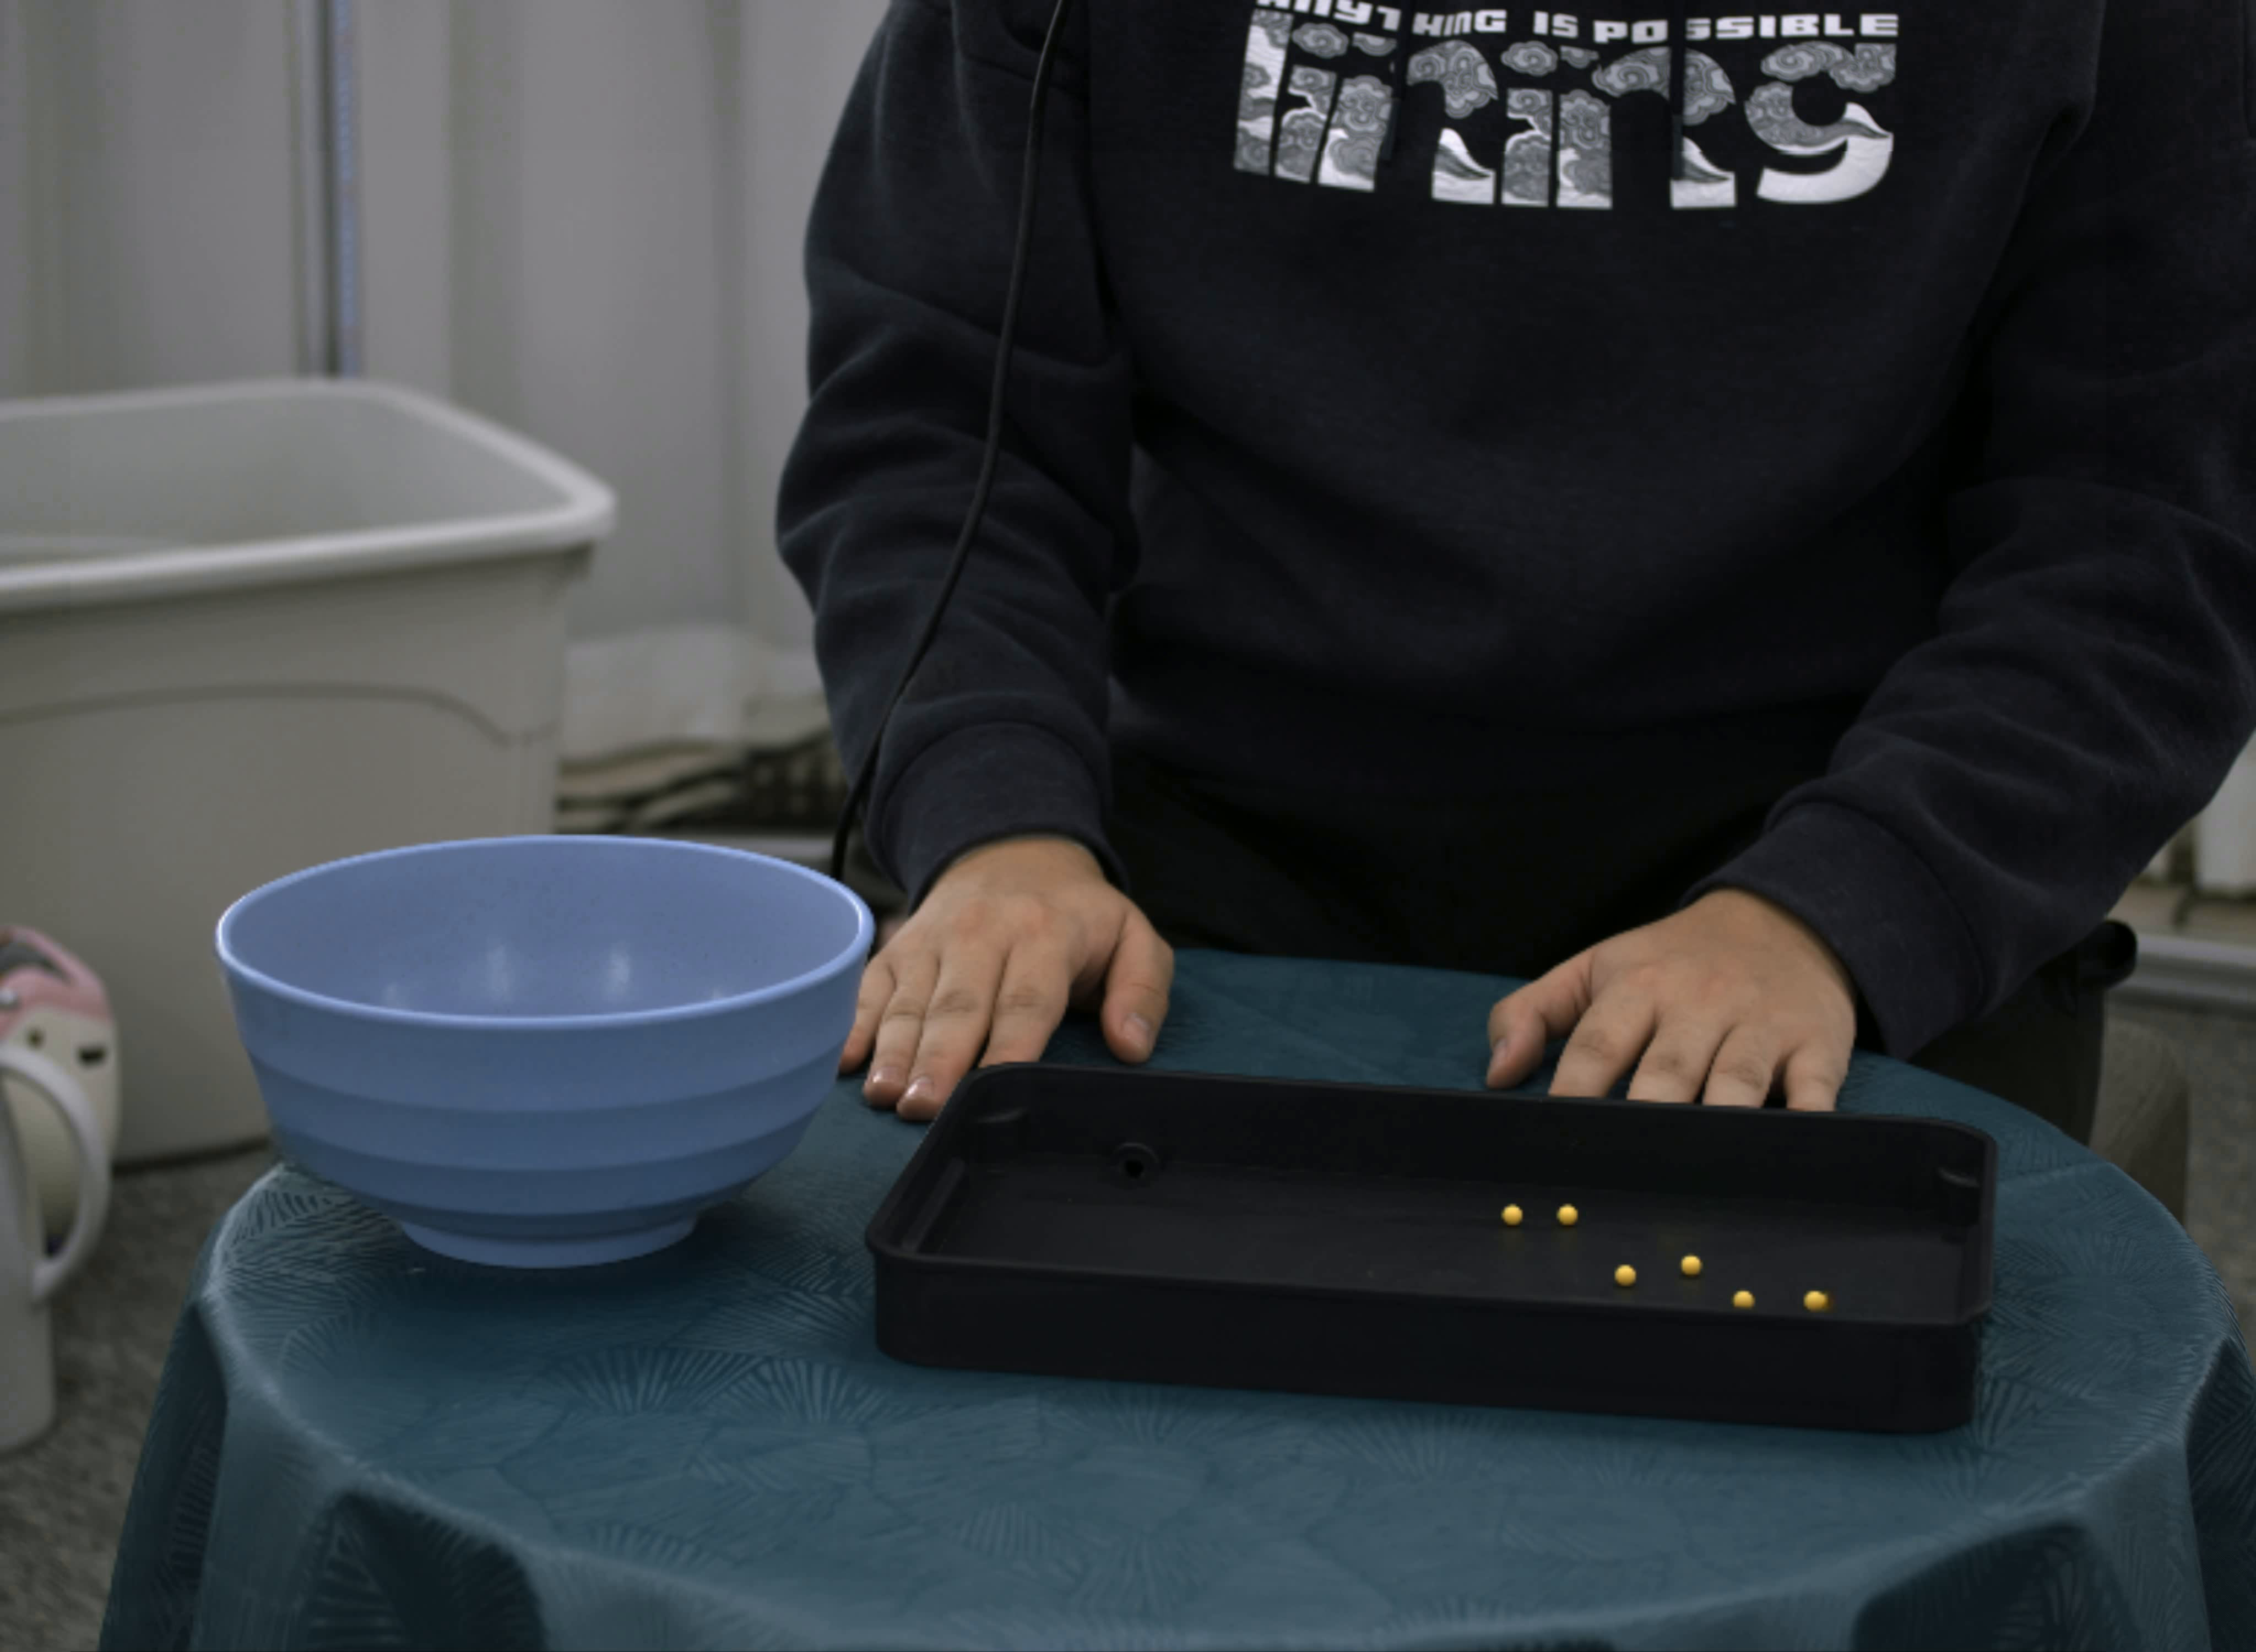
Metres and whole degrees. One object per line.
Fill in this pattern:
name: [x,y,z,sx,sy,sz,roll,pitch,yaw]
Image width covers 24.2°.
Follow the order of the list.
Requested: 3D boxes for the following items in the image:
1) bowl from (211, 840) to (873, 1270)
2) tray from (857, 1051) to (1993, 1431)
bowl: [-0.174,0.073,1.581,0.196,0.096,0.195,0,15,1]
tray: [0.091,0.118,1.538,0.316,0.037,0.184,3,15,8]
